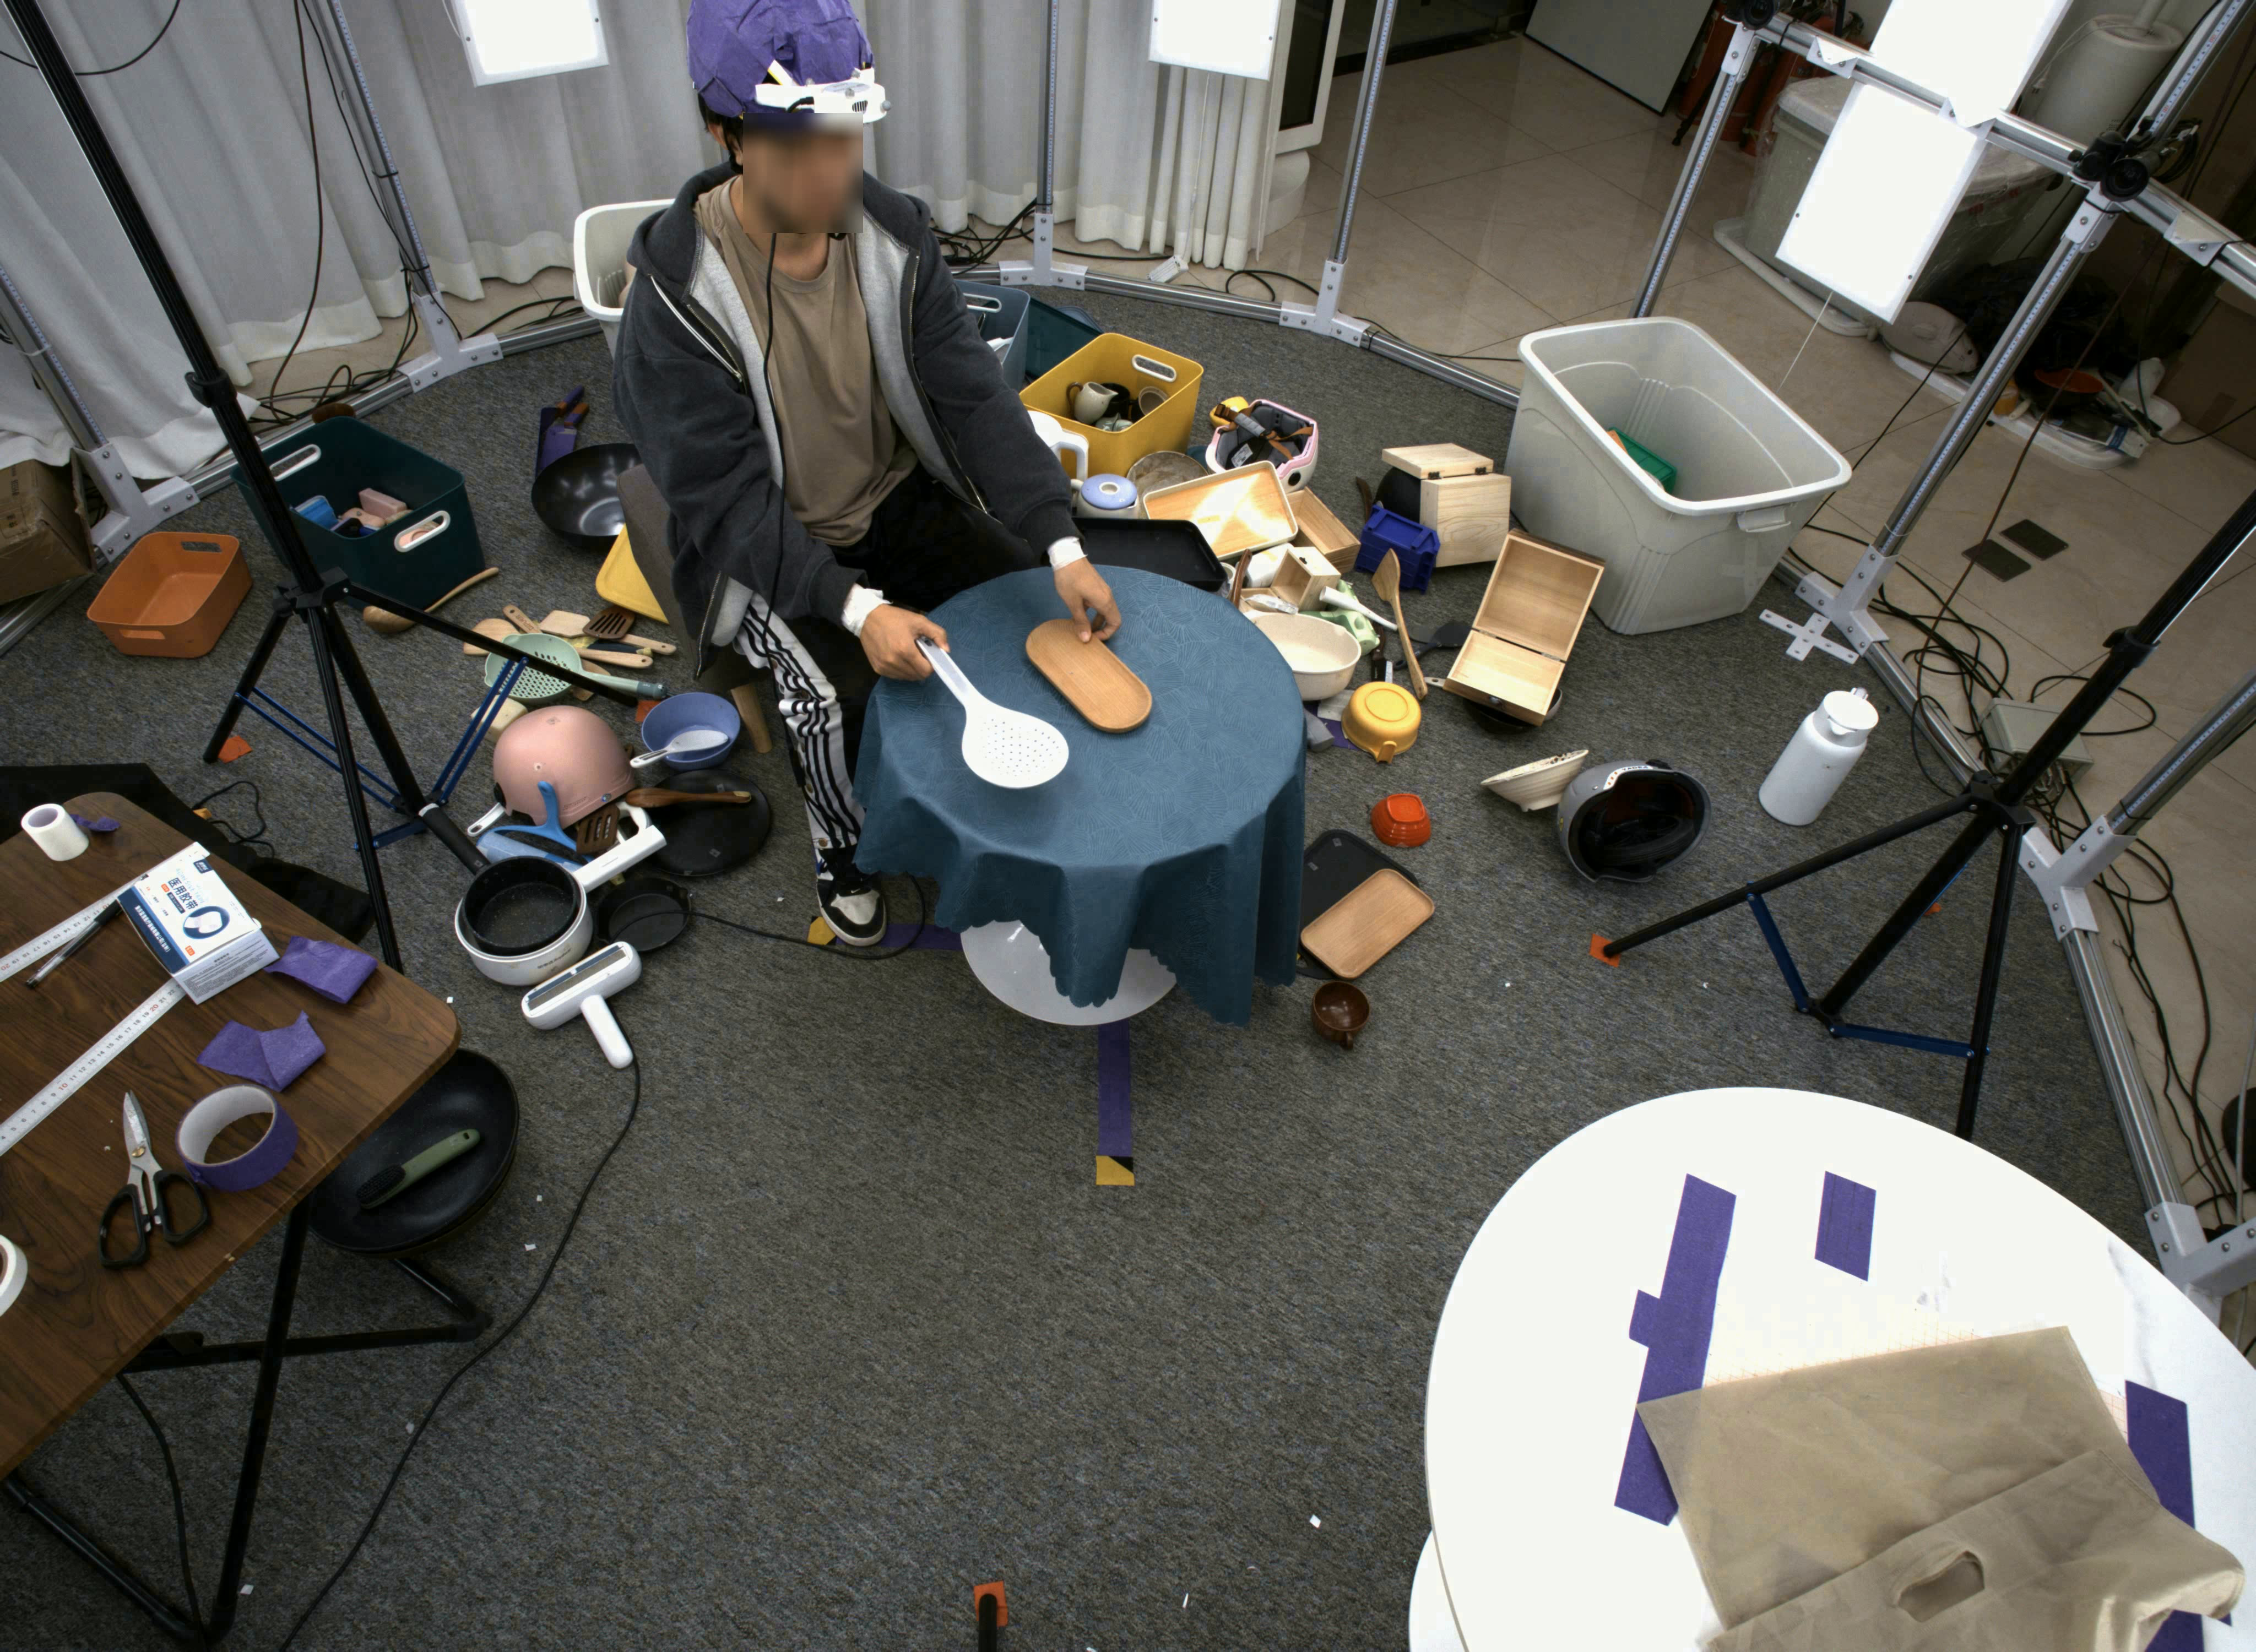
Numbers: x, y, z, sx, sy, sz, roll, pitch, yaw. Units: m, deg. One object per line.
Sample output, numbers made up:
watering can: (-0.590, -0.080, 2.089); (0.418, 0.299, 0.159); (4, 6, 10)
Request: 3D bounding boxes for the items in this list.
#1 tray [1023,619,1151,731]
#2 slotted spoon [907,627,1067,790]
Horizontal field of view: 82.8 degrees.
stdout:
tray: (-0.060, -0.217, 1.832); (0.102, 0.020, 0.235); (-32, 59, -24)
slotted spoon: (-0.206, -0.161, 1.714); (0.136, 0.044, 0.357); (-20, 55, -27)
